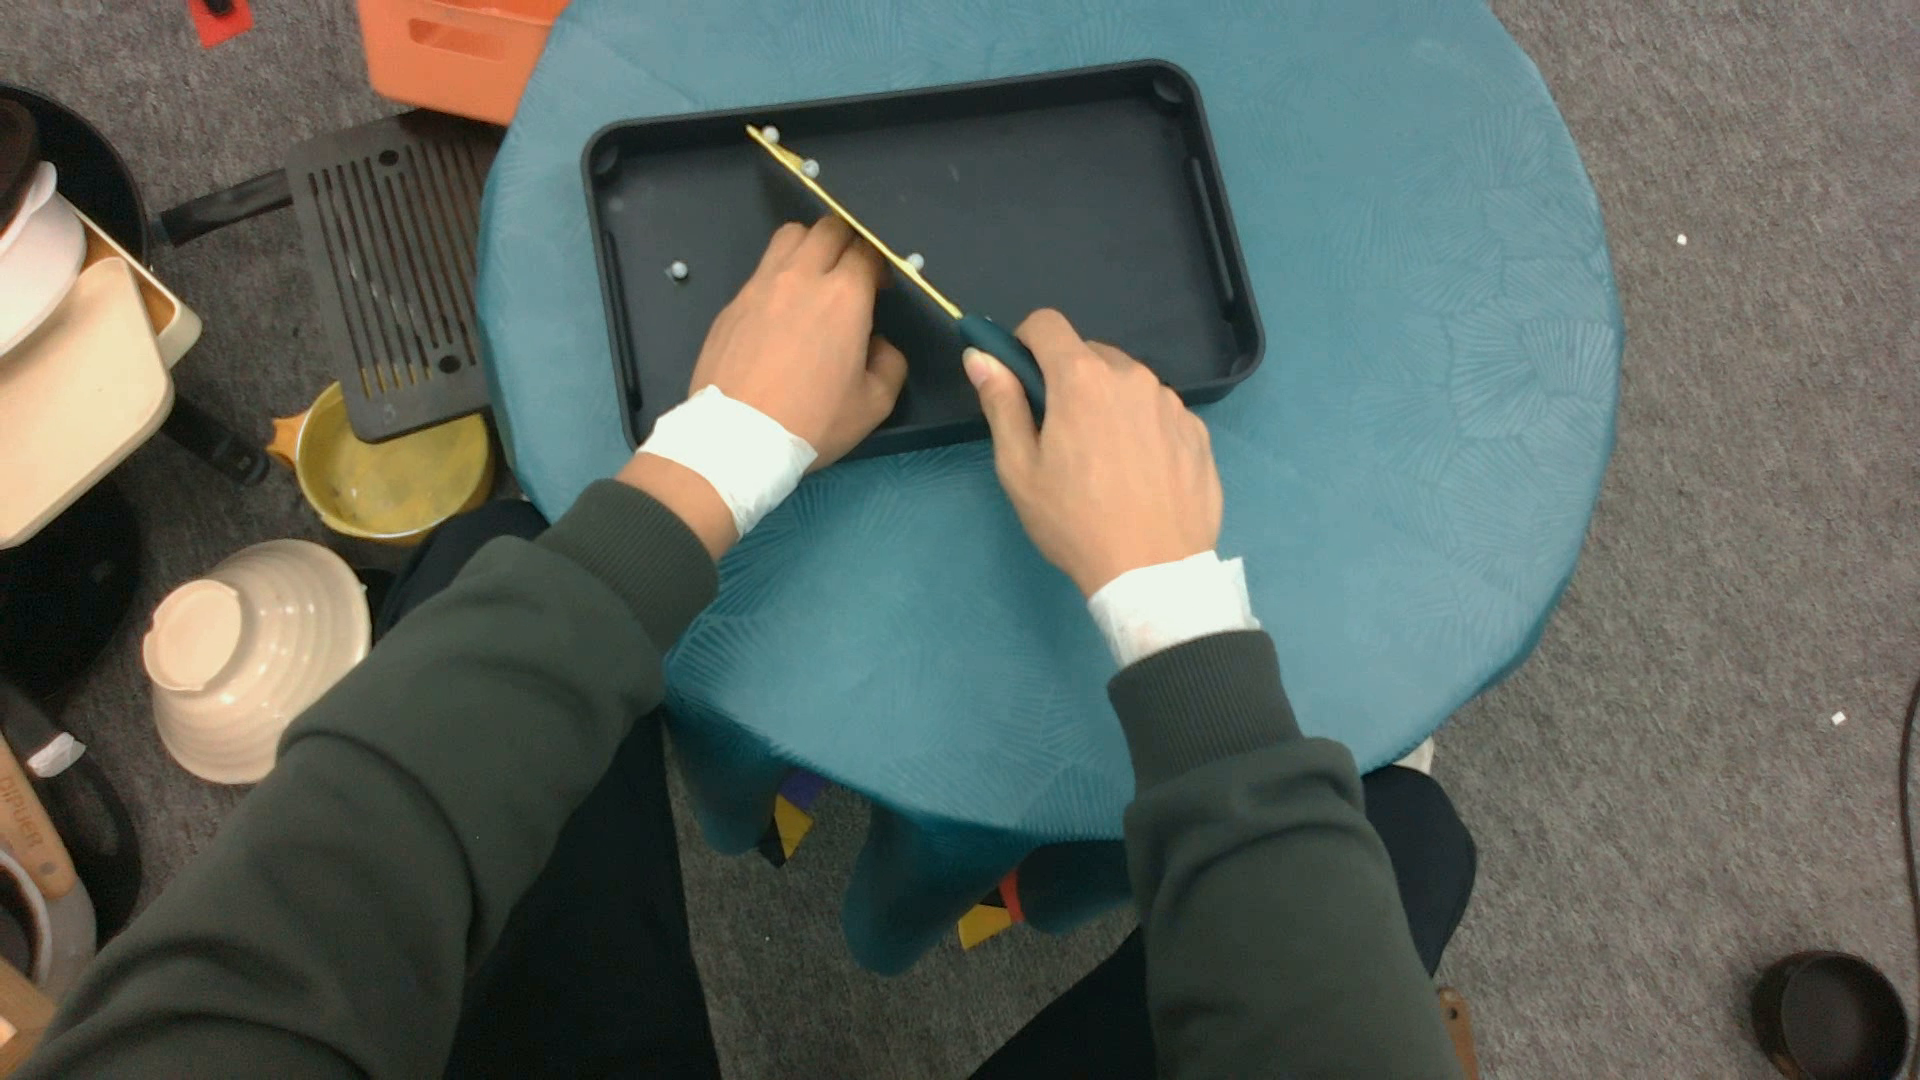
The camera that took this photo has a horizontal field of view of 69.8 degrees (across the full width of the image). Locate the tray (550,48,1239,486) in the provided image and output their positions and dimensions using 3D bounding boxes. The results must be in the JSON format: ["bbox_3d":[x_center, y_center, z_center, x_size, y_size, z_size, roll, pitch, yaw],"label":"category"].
[{"bbox_3d":[-0.031,-0.142,0.695,0.318,0.037,0.184,-12,76,-10],"label":"tray"}]

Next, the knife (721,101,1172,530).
[{"bbox_3d":[-0.011,-0.109,0.642,0.289,0.081,0.027,44,99,7],"label":"knife"}]
